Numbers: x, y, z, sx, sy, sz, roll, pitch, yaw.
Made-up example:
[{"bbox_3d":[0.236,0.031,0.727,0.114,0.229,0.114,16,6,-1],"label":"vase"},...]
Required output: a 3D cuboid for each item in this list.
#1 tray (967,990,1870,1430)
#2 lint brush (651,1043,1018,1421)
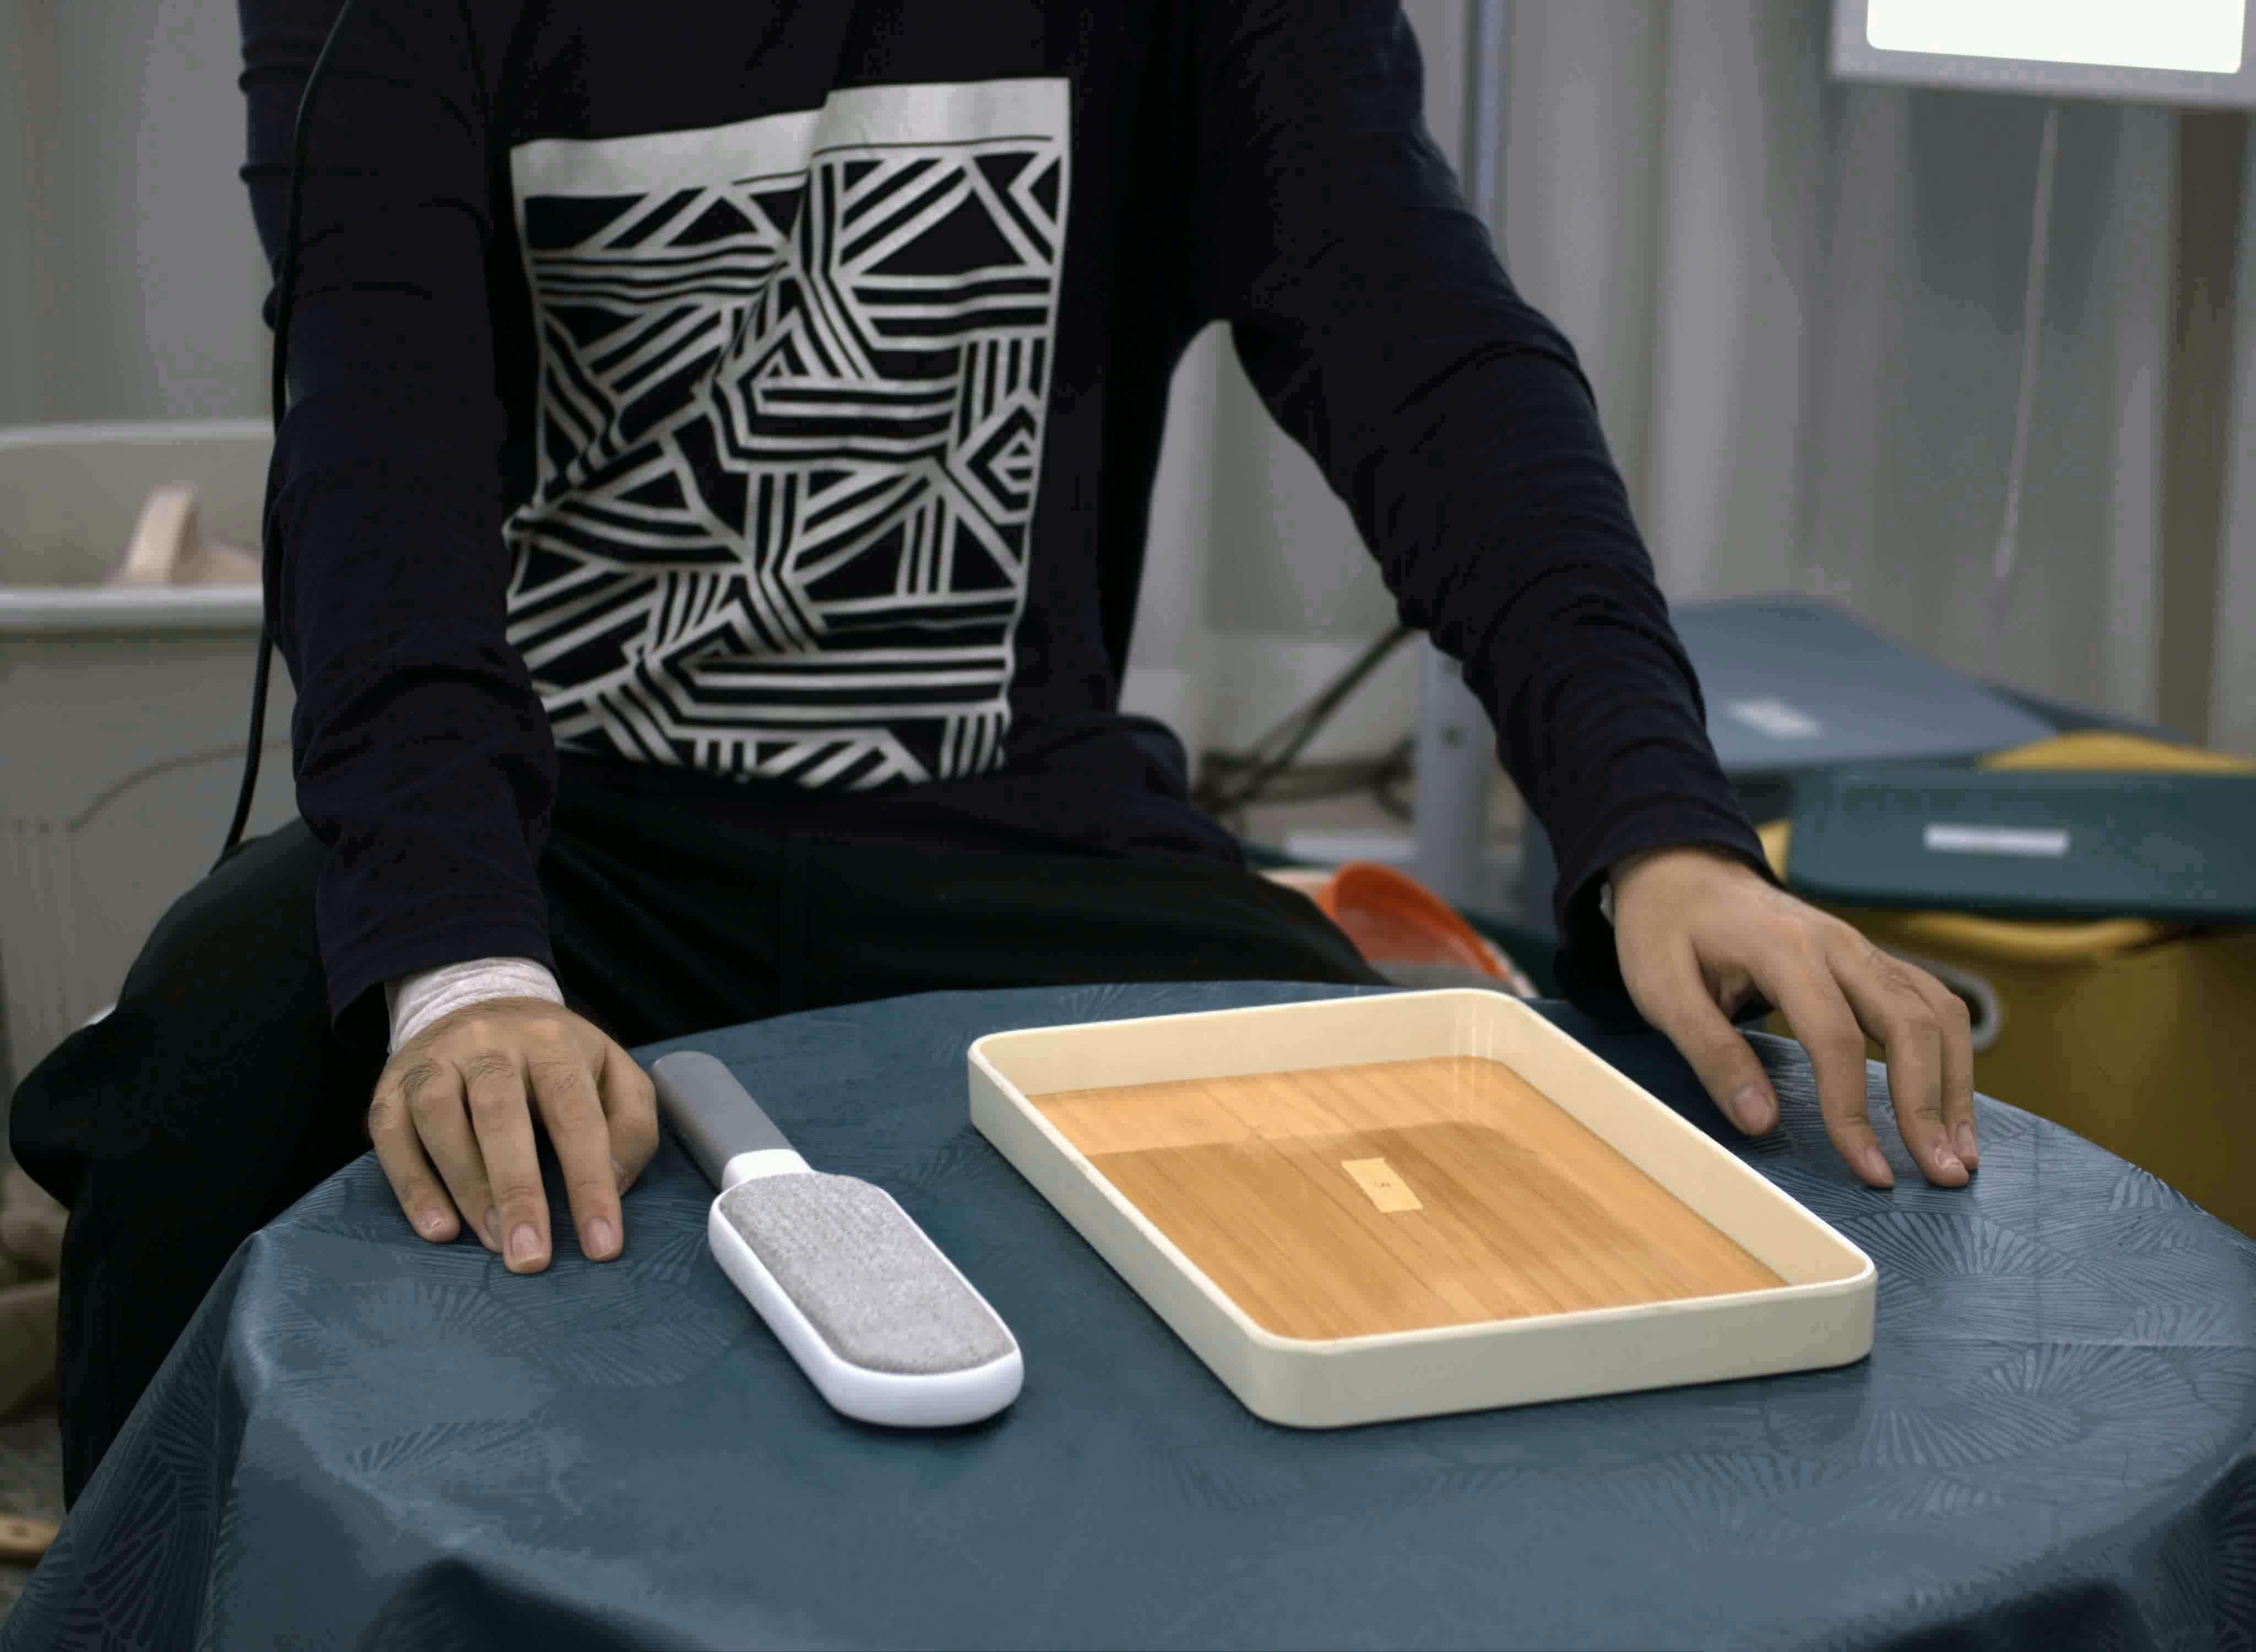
[{"bbox_3d":[0.079,0.110,1.588,0.192,0.027,0.297,-5,16,-17],"label":"tray"},{"bbox_3d":[-0.095,0.116,1.560,0.060,0.021,0.305,-10,18,-16],"label":"lint brush"}]
